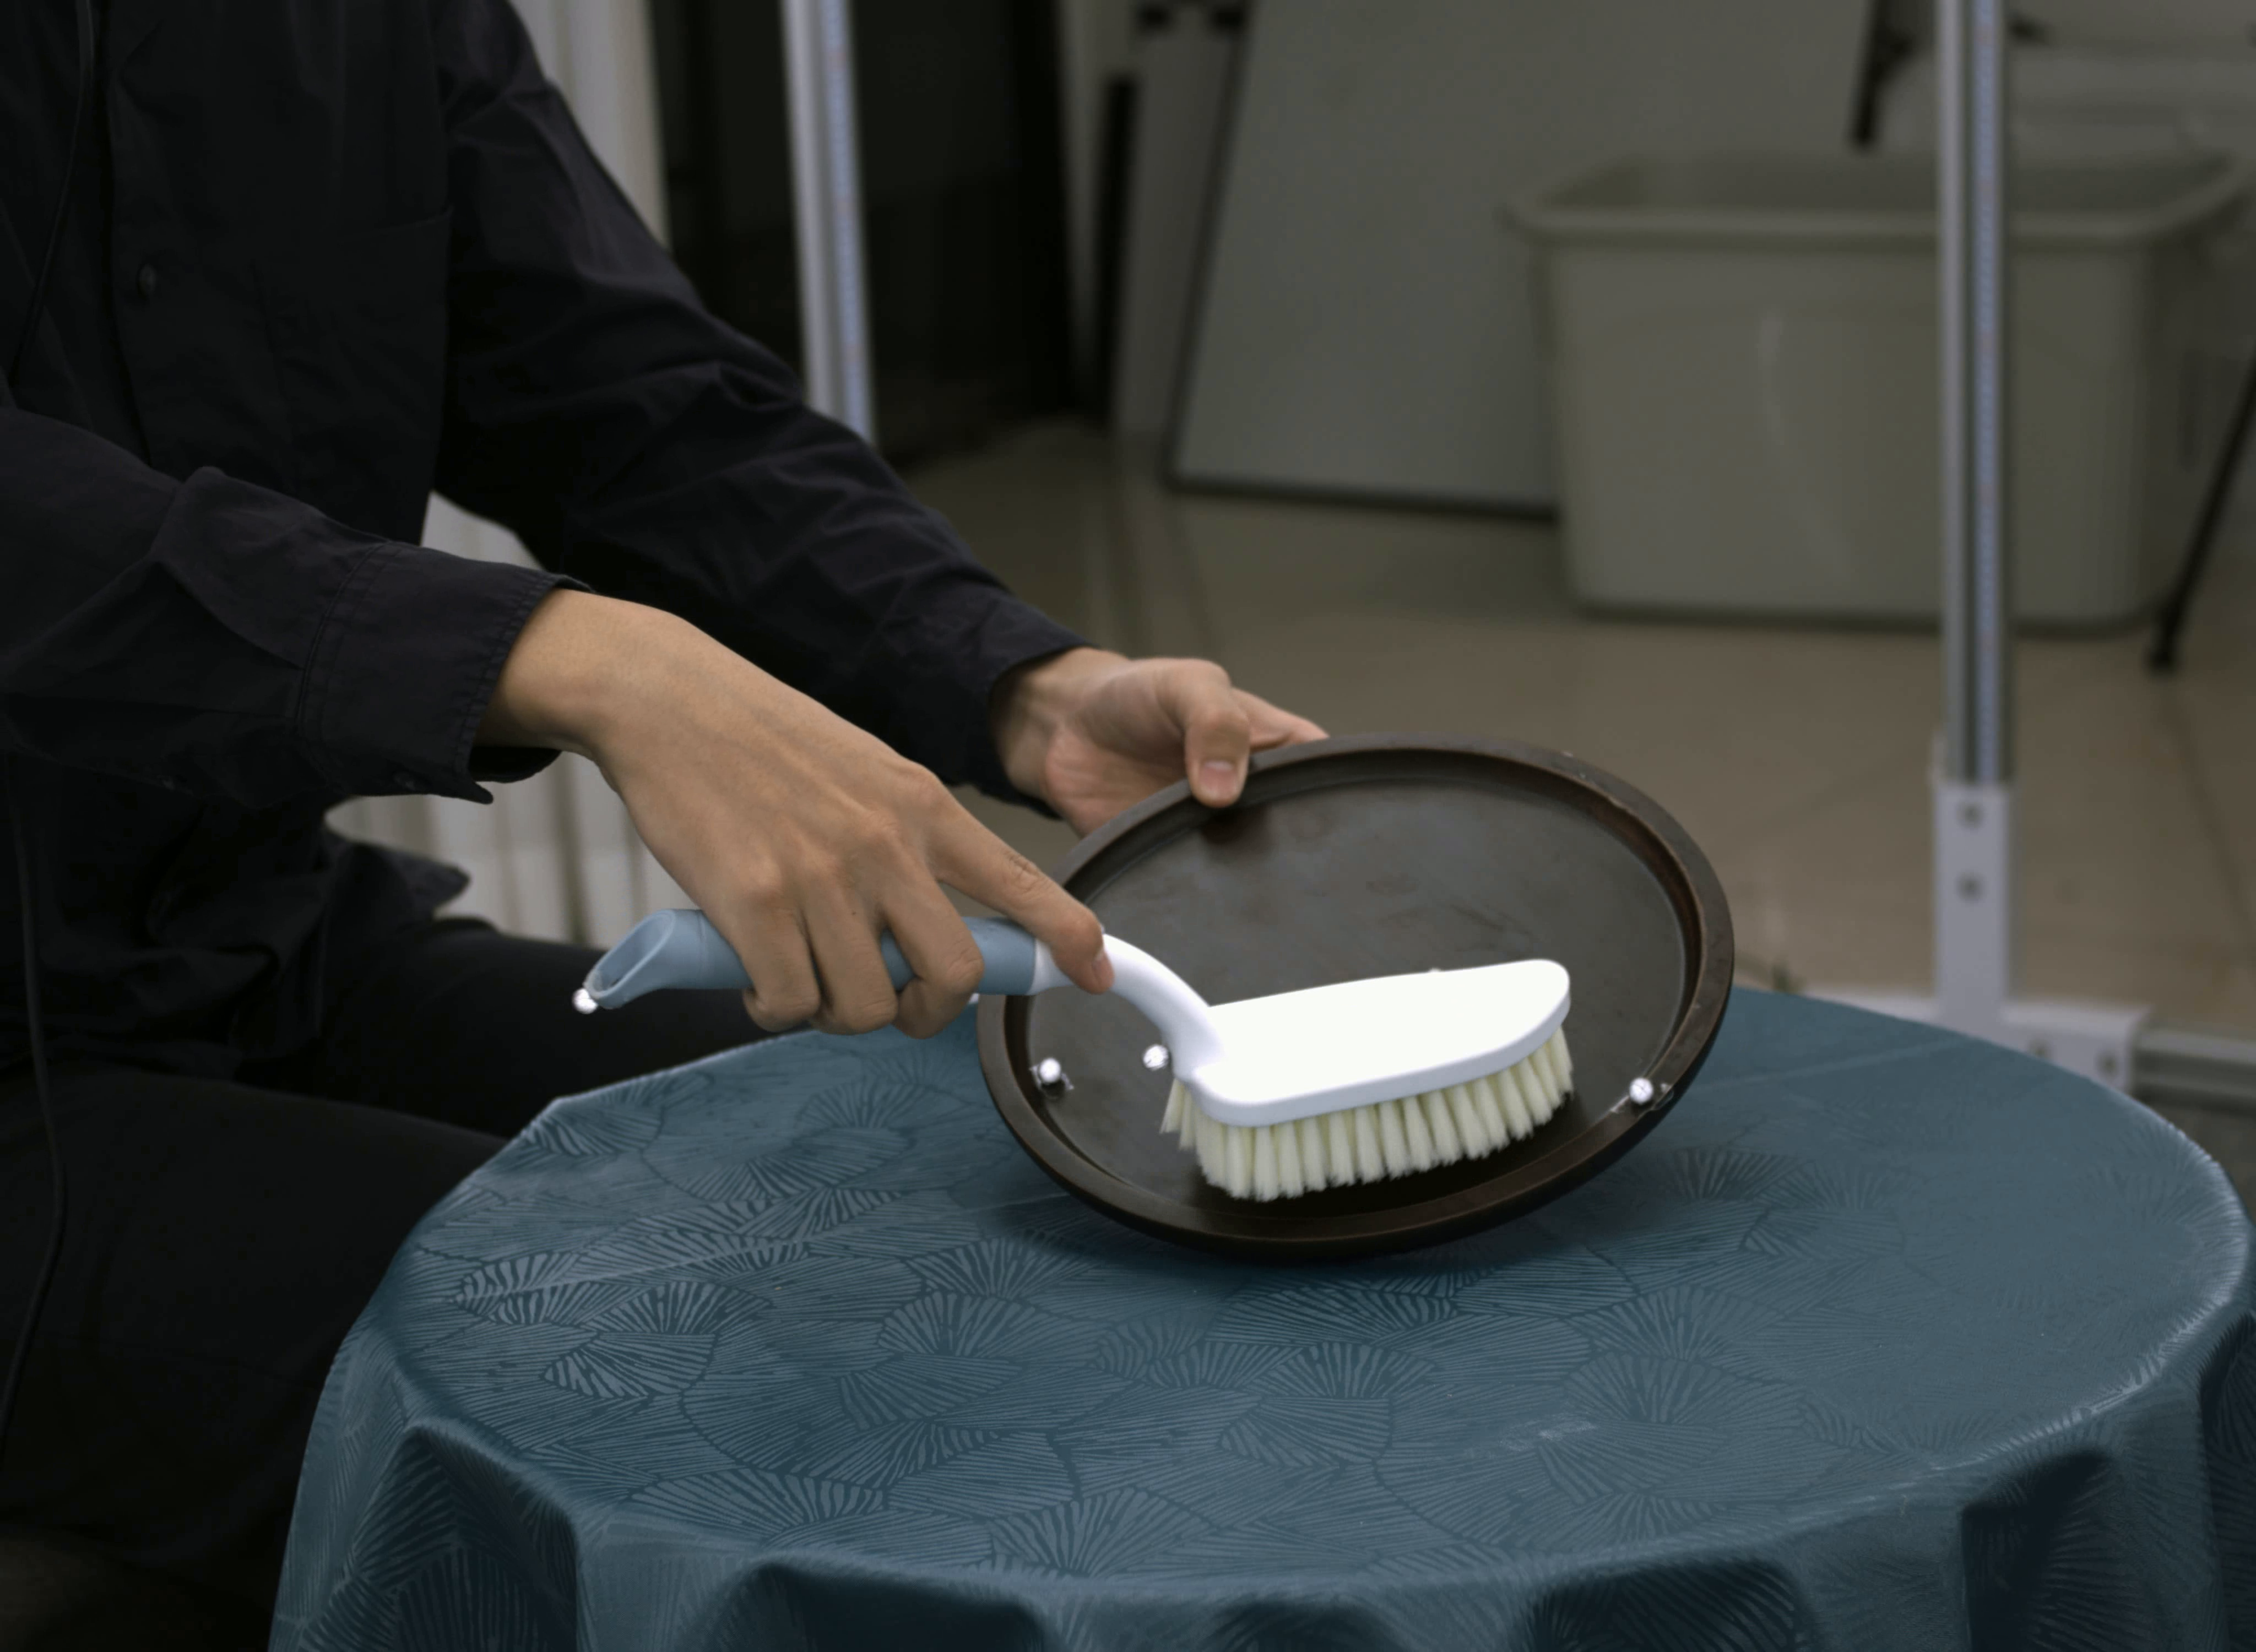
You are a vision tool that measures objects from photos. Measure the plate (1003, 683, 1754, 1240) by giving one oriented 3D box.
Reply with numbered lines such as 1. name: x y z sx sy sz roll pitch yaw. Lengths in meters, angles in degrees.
1. plate: 0.083 0.046 1.779 0.252 0.029 0.256 -10 39 7

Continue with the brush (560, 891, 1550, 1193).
1. brush: -0.021 0.073 1.672 0.319 0.085 0.083 2 -16 -17
